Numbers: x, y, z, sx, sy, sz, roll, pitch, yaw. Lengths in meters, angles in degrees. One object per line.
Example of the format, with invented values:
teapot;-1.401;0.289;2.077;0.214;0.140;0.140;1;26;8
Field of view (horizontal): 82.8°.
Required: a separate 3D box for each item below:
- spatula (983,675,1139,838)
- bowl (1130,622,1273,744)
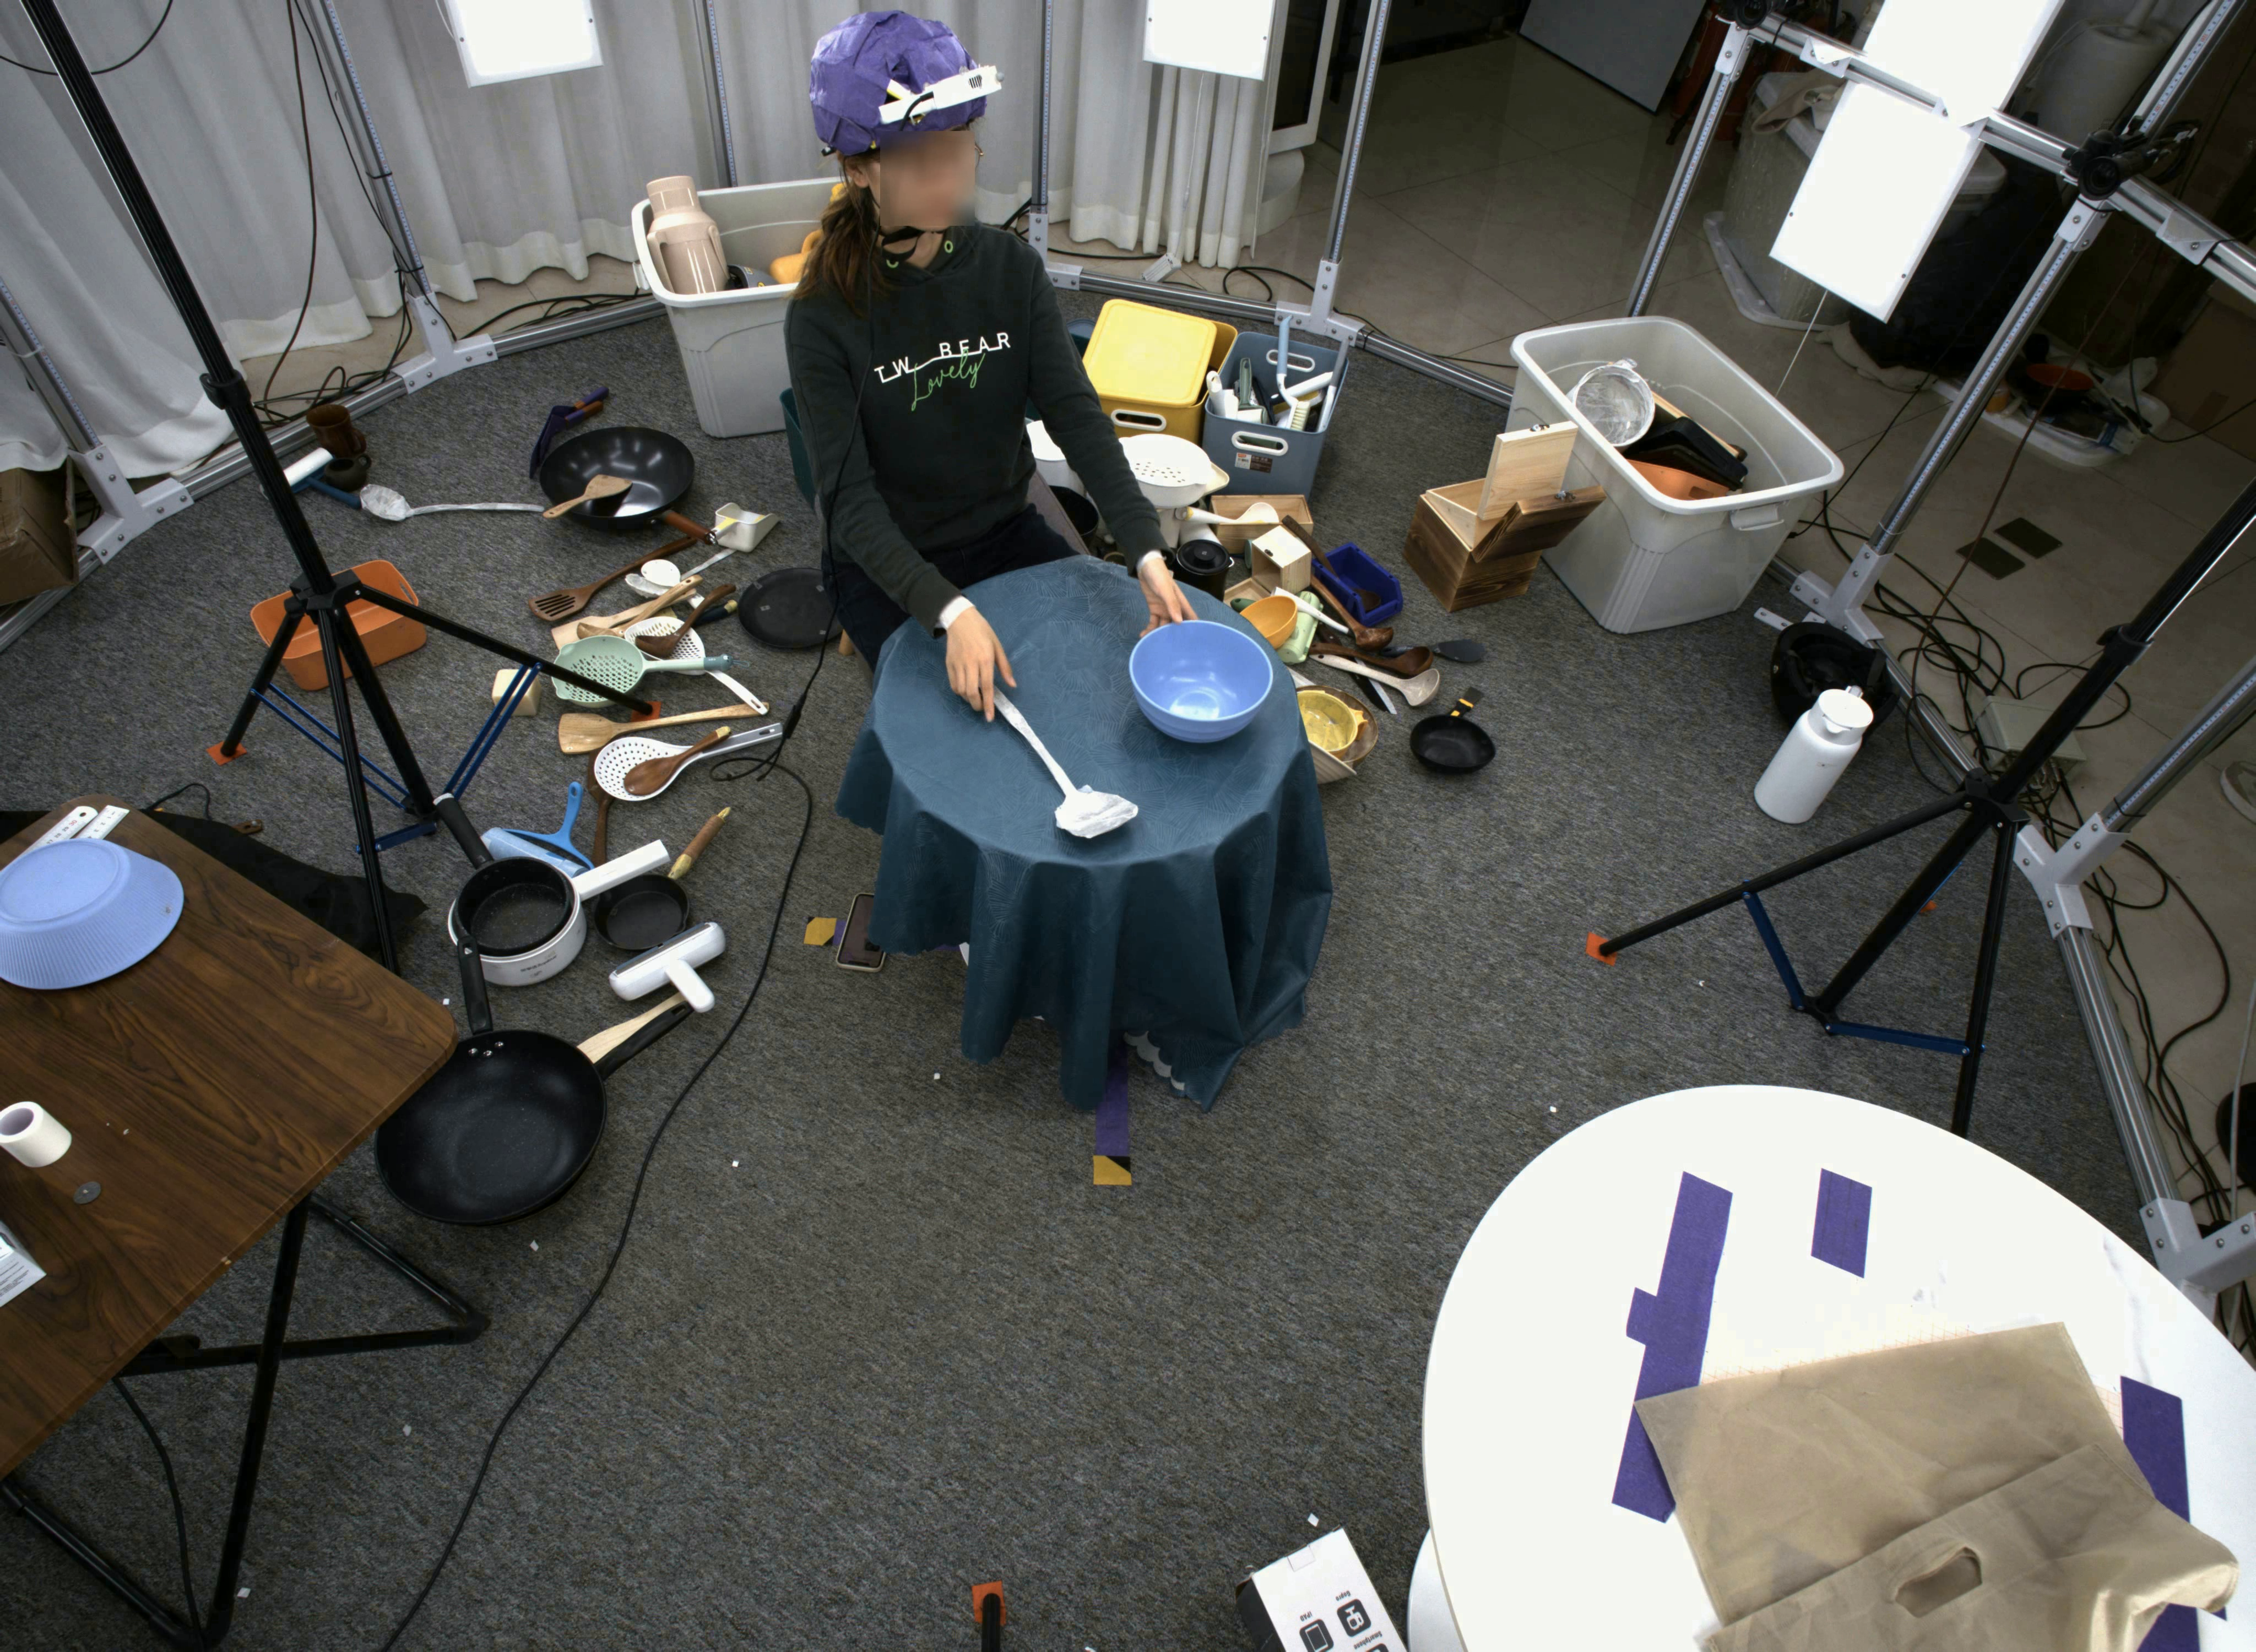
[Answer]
spatula;-0.113;-0.106;1.744;0.099;0.043;0.372;-24;55;-20
bowl;0.097;-0.184;1.790;0.196;0.093;0.201;2;50;-3
